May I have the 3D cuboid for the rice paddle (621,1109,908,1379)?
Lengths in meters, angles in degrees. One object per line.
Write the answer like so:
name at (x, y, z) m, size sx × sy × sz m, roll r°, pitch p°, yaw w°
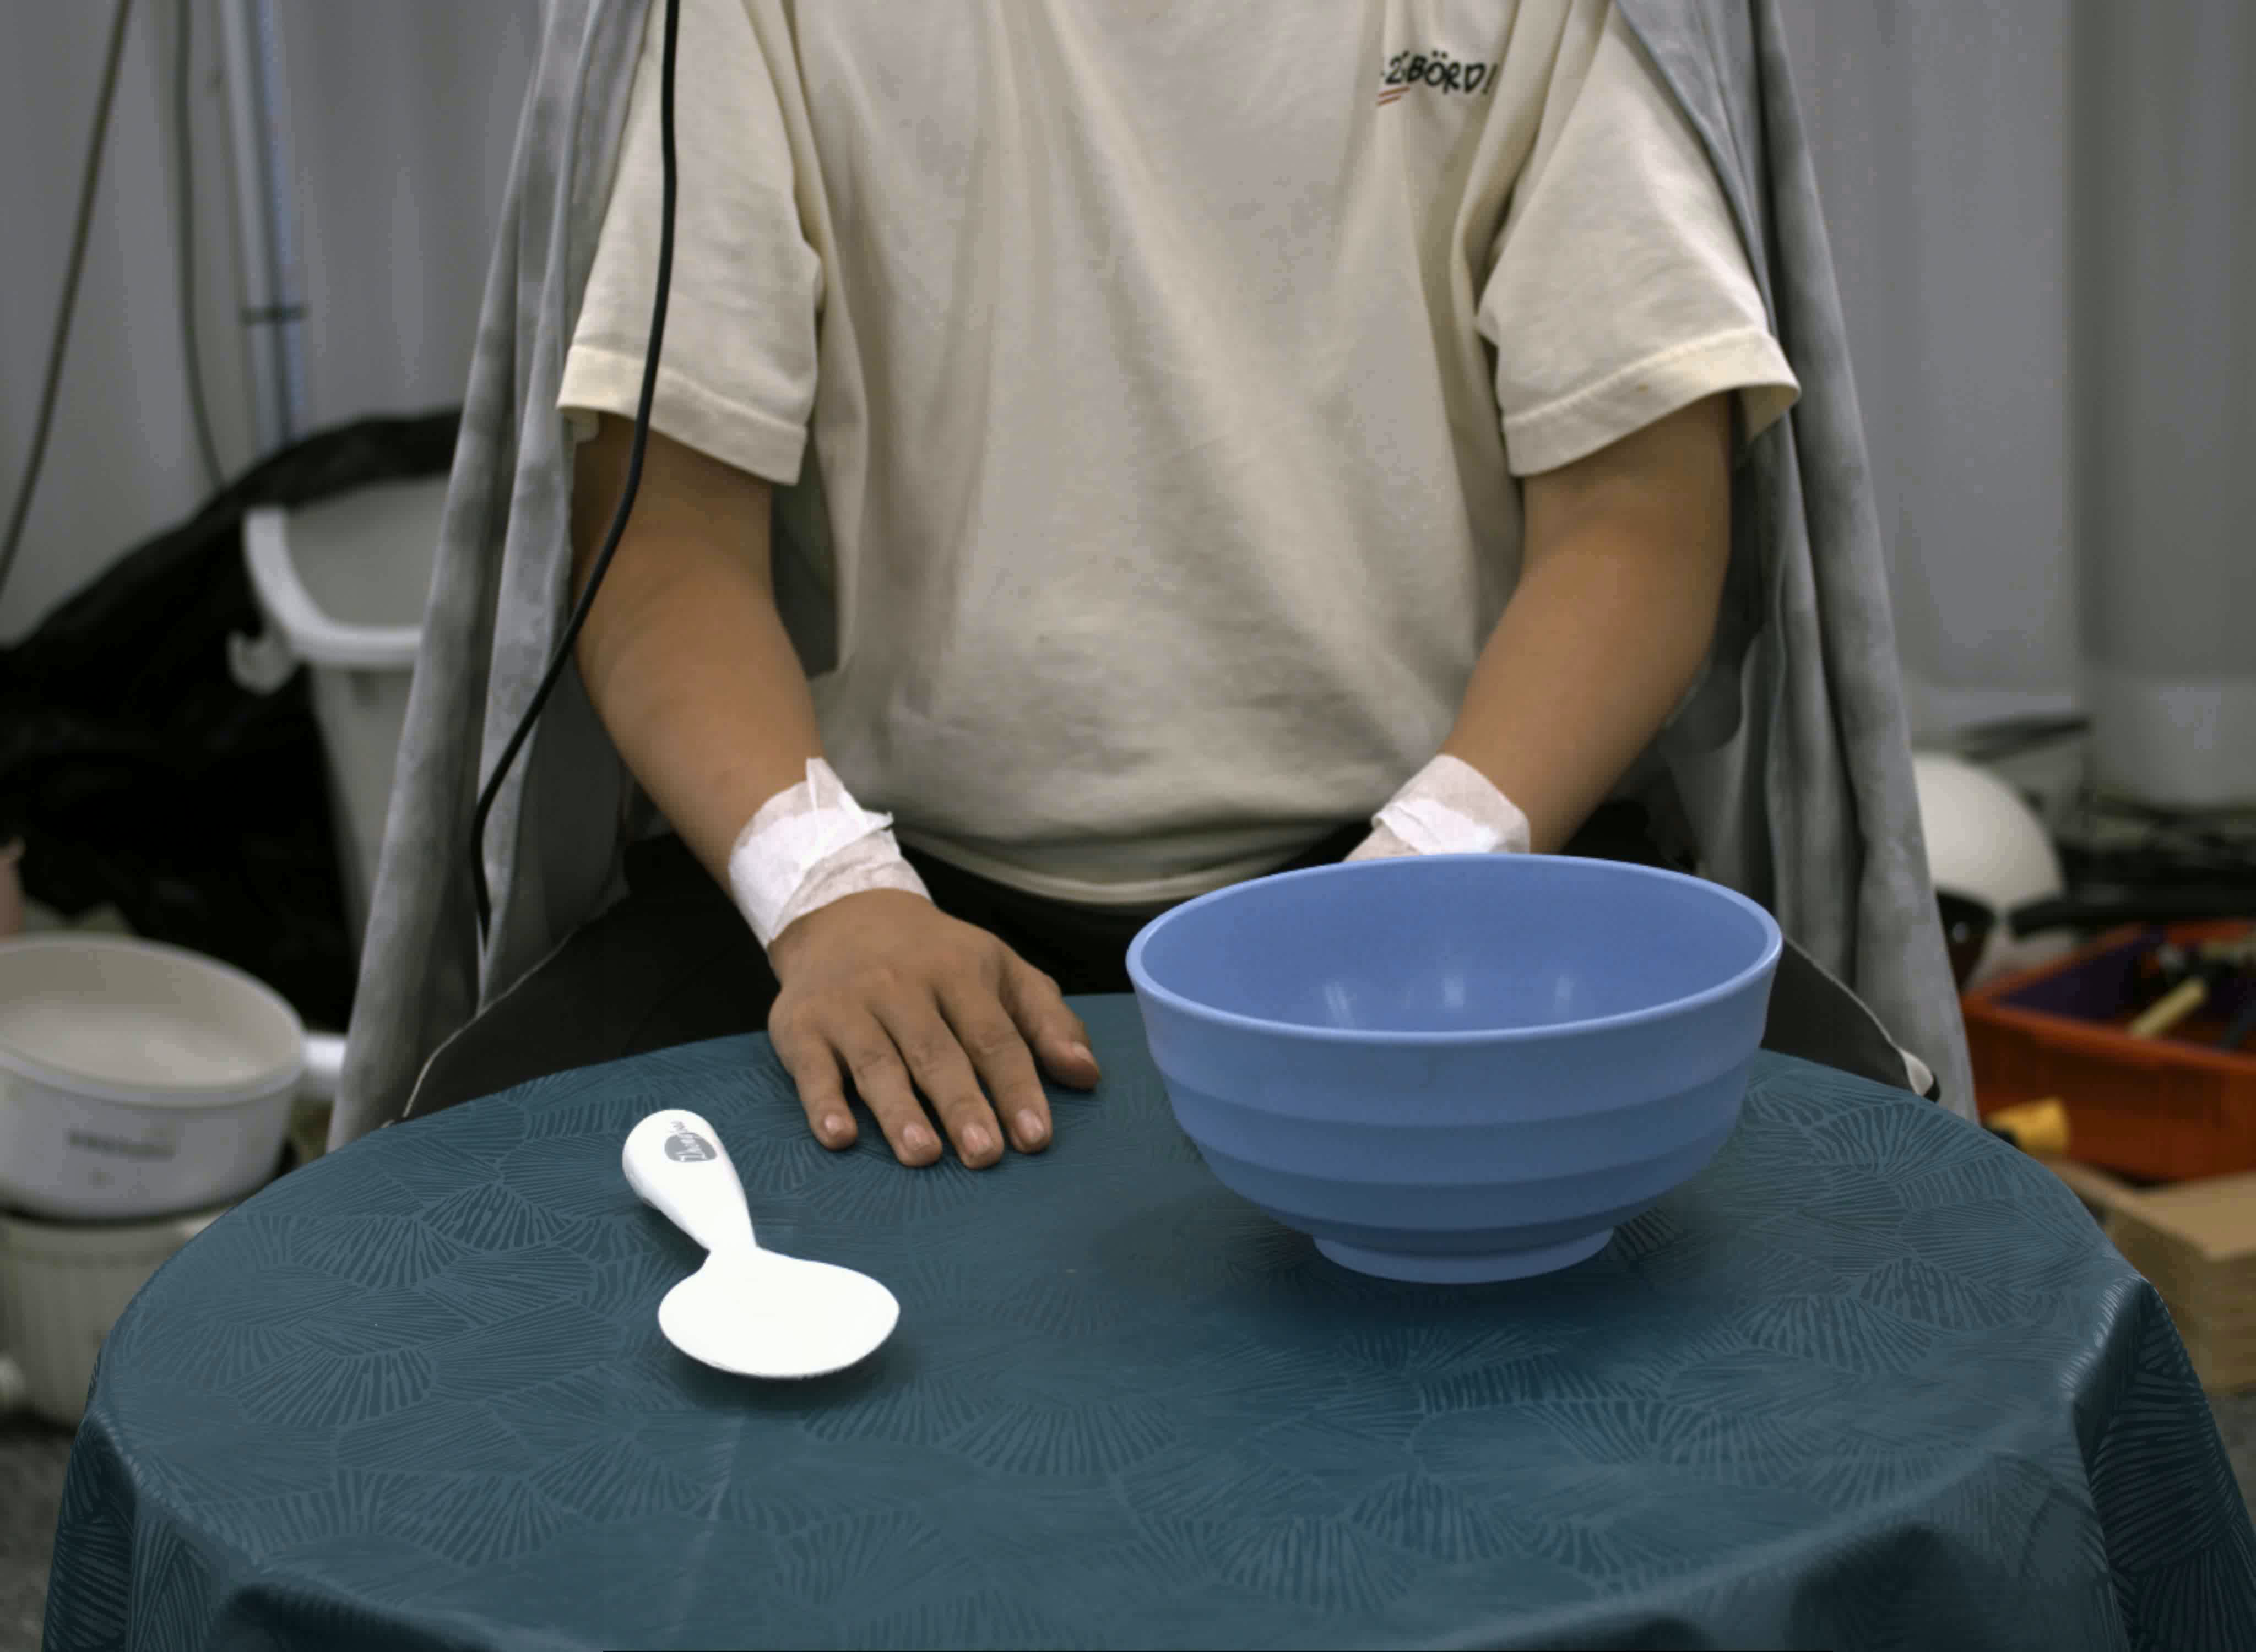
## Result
rice paddle at (-0.115, 0.127, 1.636) m, size 0.068 × 0.029 × 0.207 m, roll -8°, pitch 16°, yaw -15°

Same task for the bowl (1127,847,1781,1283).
bowl at (0.100, 0.078, 1.652) m, size 0.196 × 0.095 × 0.198 m, roll -3°, pitch 16°, yaw 1°
